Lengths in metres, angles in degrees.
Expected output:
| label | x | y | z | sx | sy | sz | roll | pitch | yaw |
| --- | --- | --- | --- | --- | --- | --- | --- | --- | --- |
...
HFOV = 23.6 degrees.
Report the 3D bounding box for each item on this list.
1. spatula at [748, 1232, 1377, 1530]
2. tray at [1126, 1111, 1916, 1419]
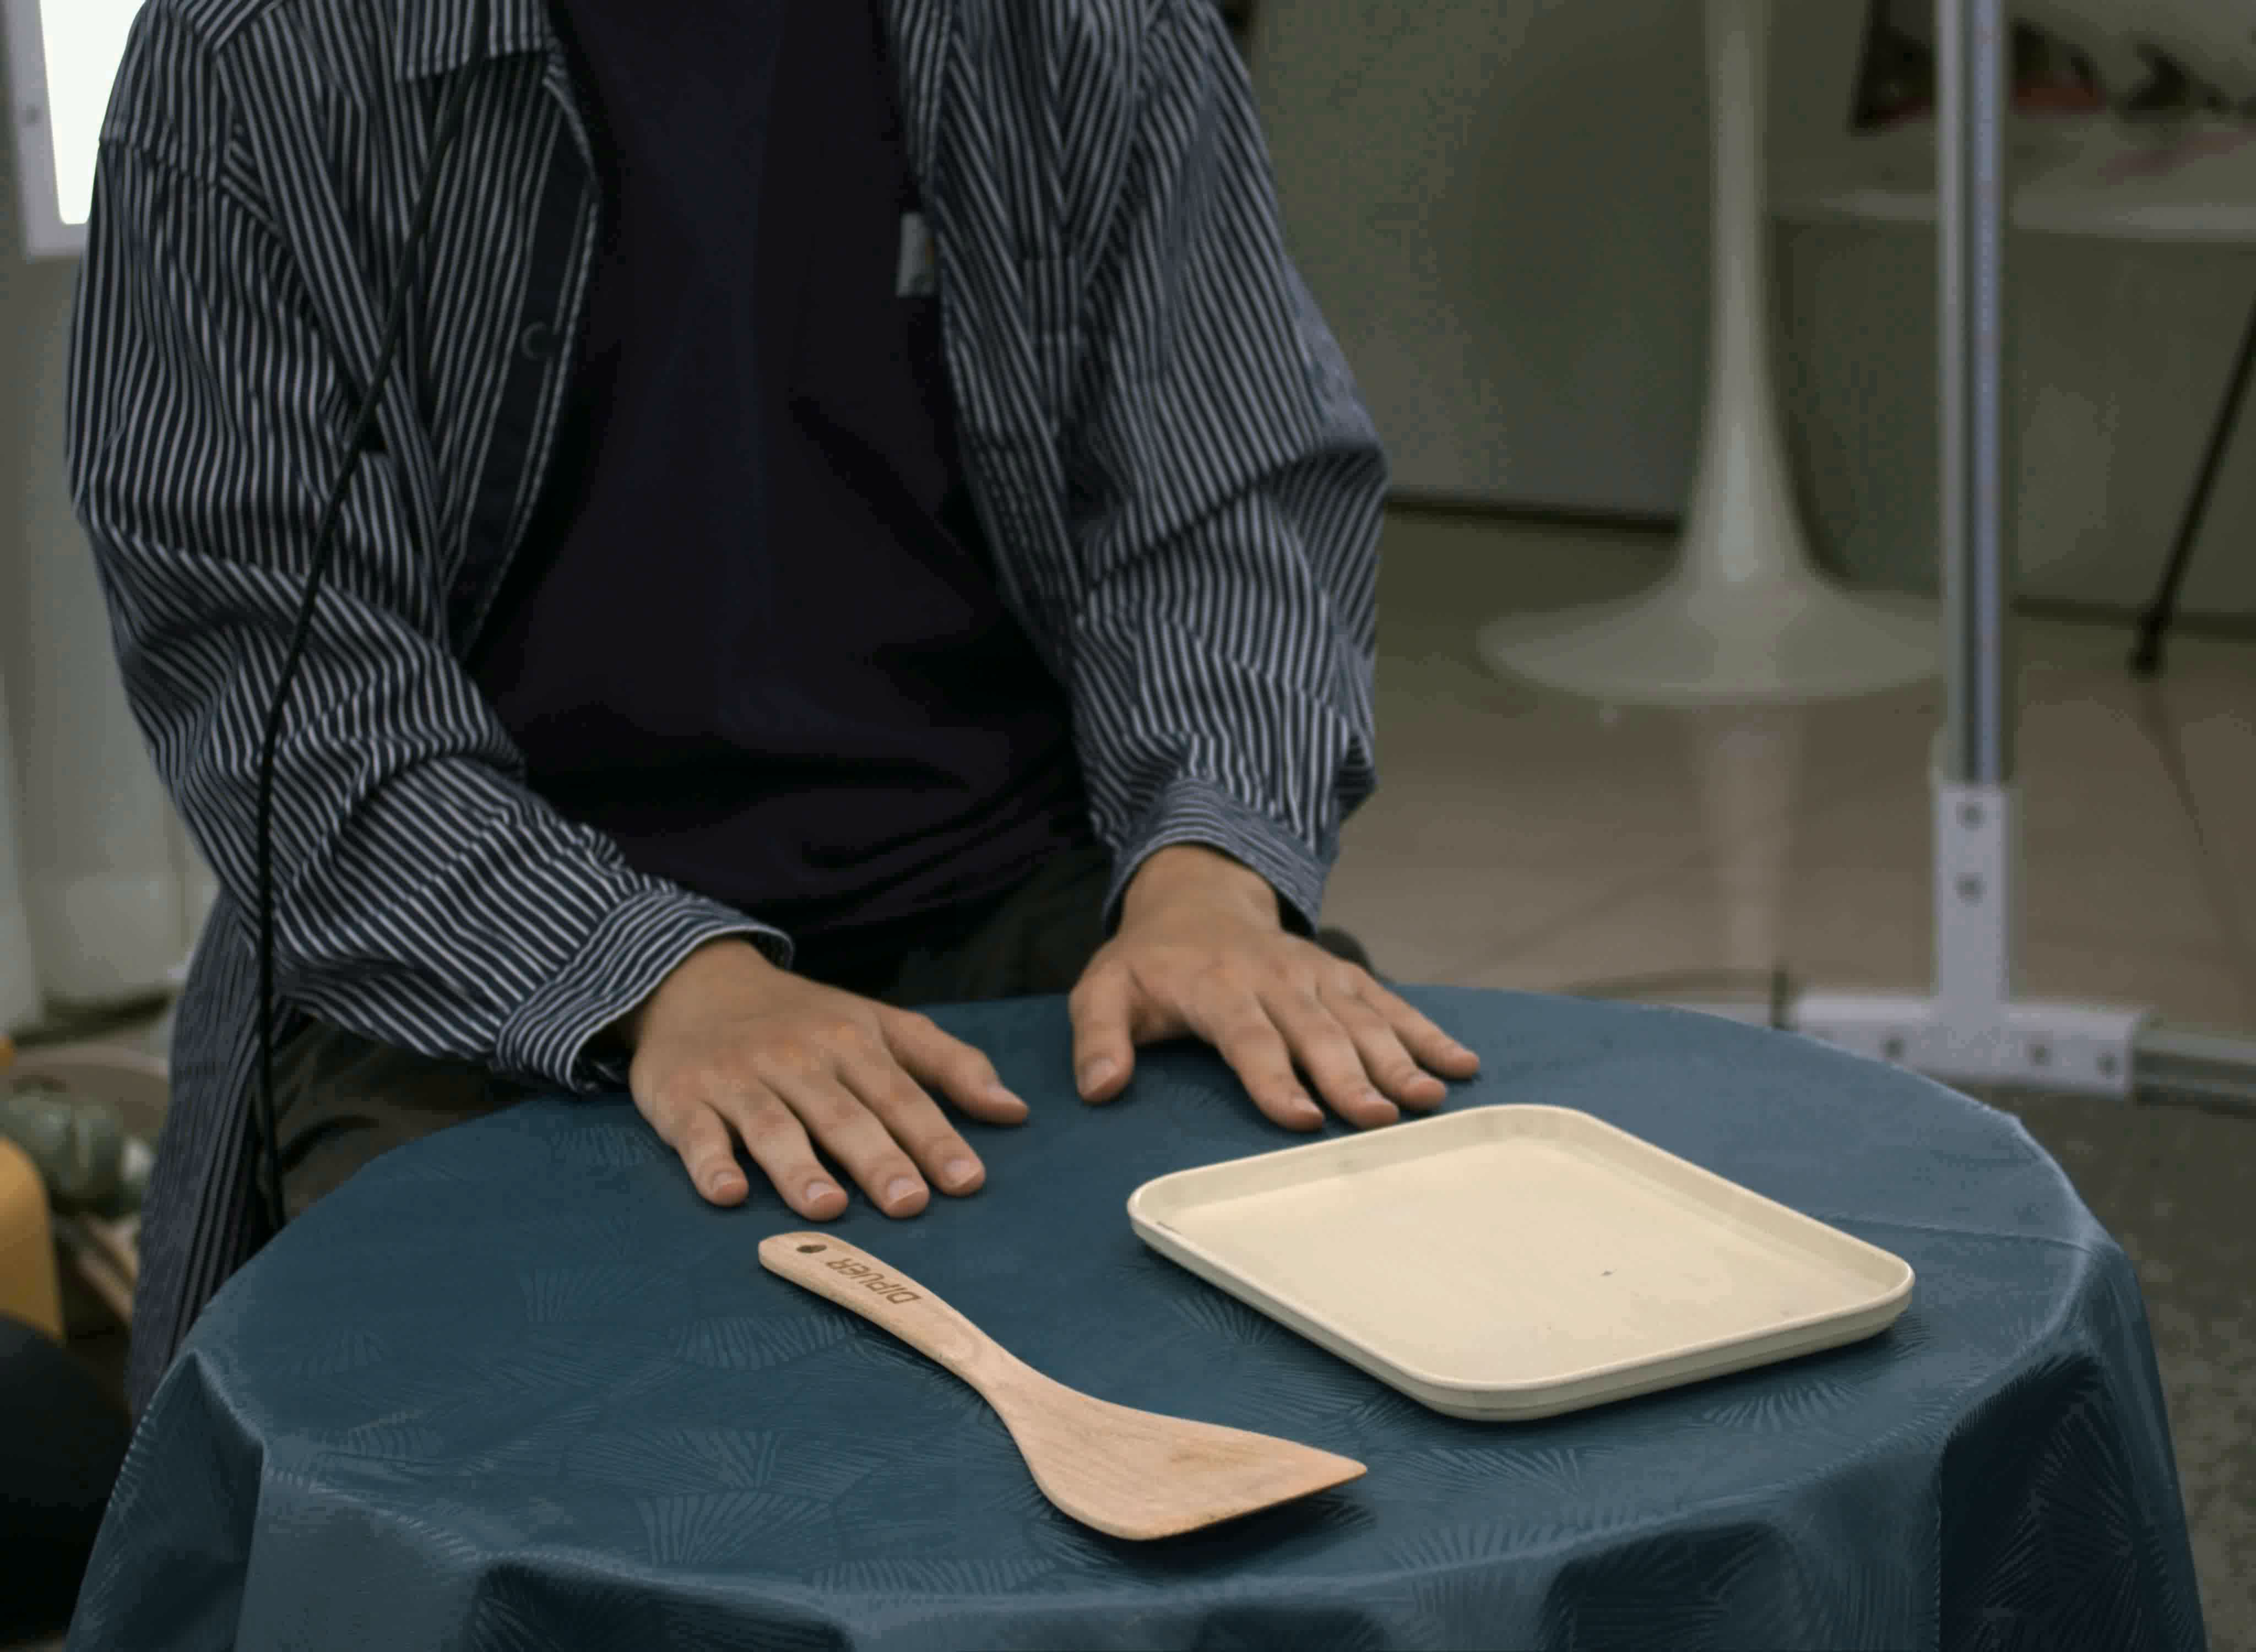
| label | x | y | z | sx | sy | sz | roll | pitch | yaw |
| --- | --- | --- | --- | --- | --- | --- | --- | --- | --- |
| spatula | -0.035 | 0.158 | 1.591 | 0.078 | 0.017 | 0.331 | -10 | 15 | -27 |
| tray | 0.117 | 0.133 | 1.649 | 0.167 | 0.017 | 0.242 | -10 | 14 | -24 |
